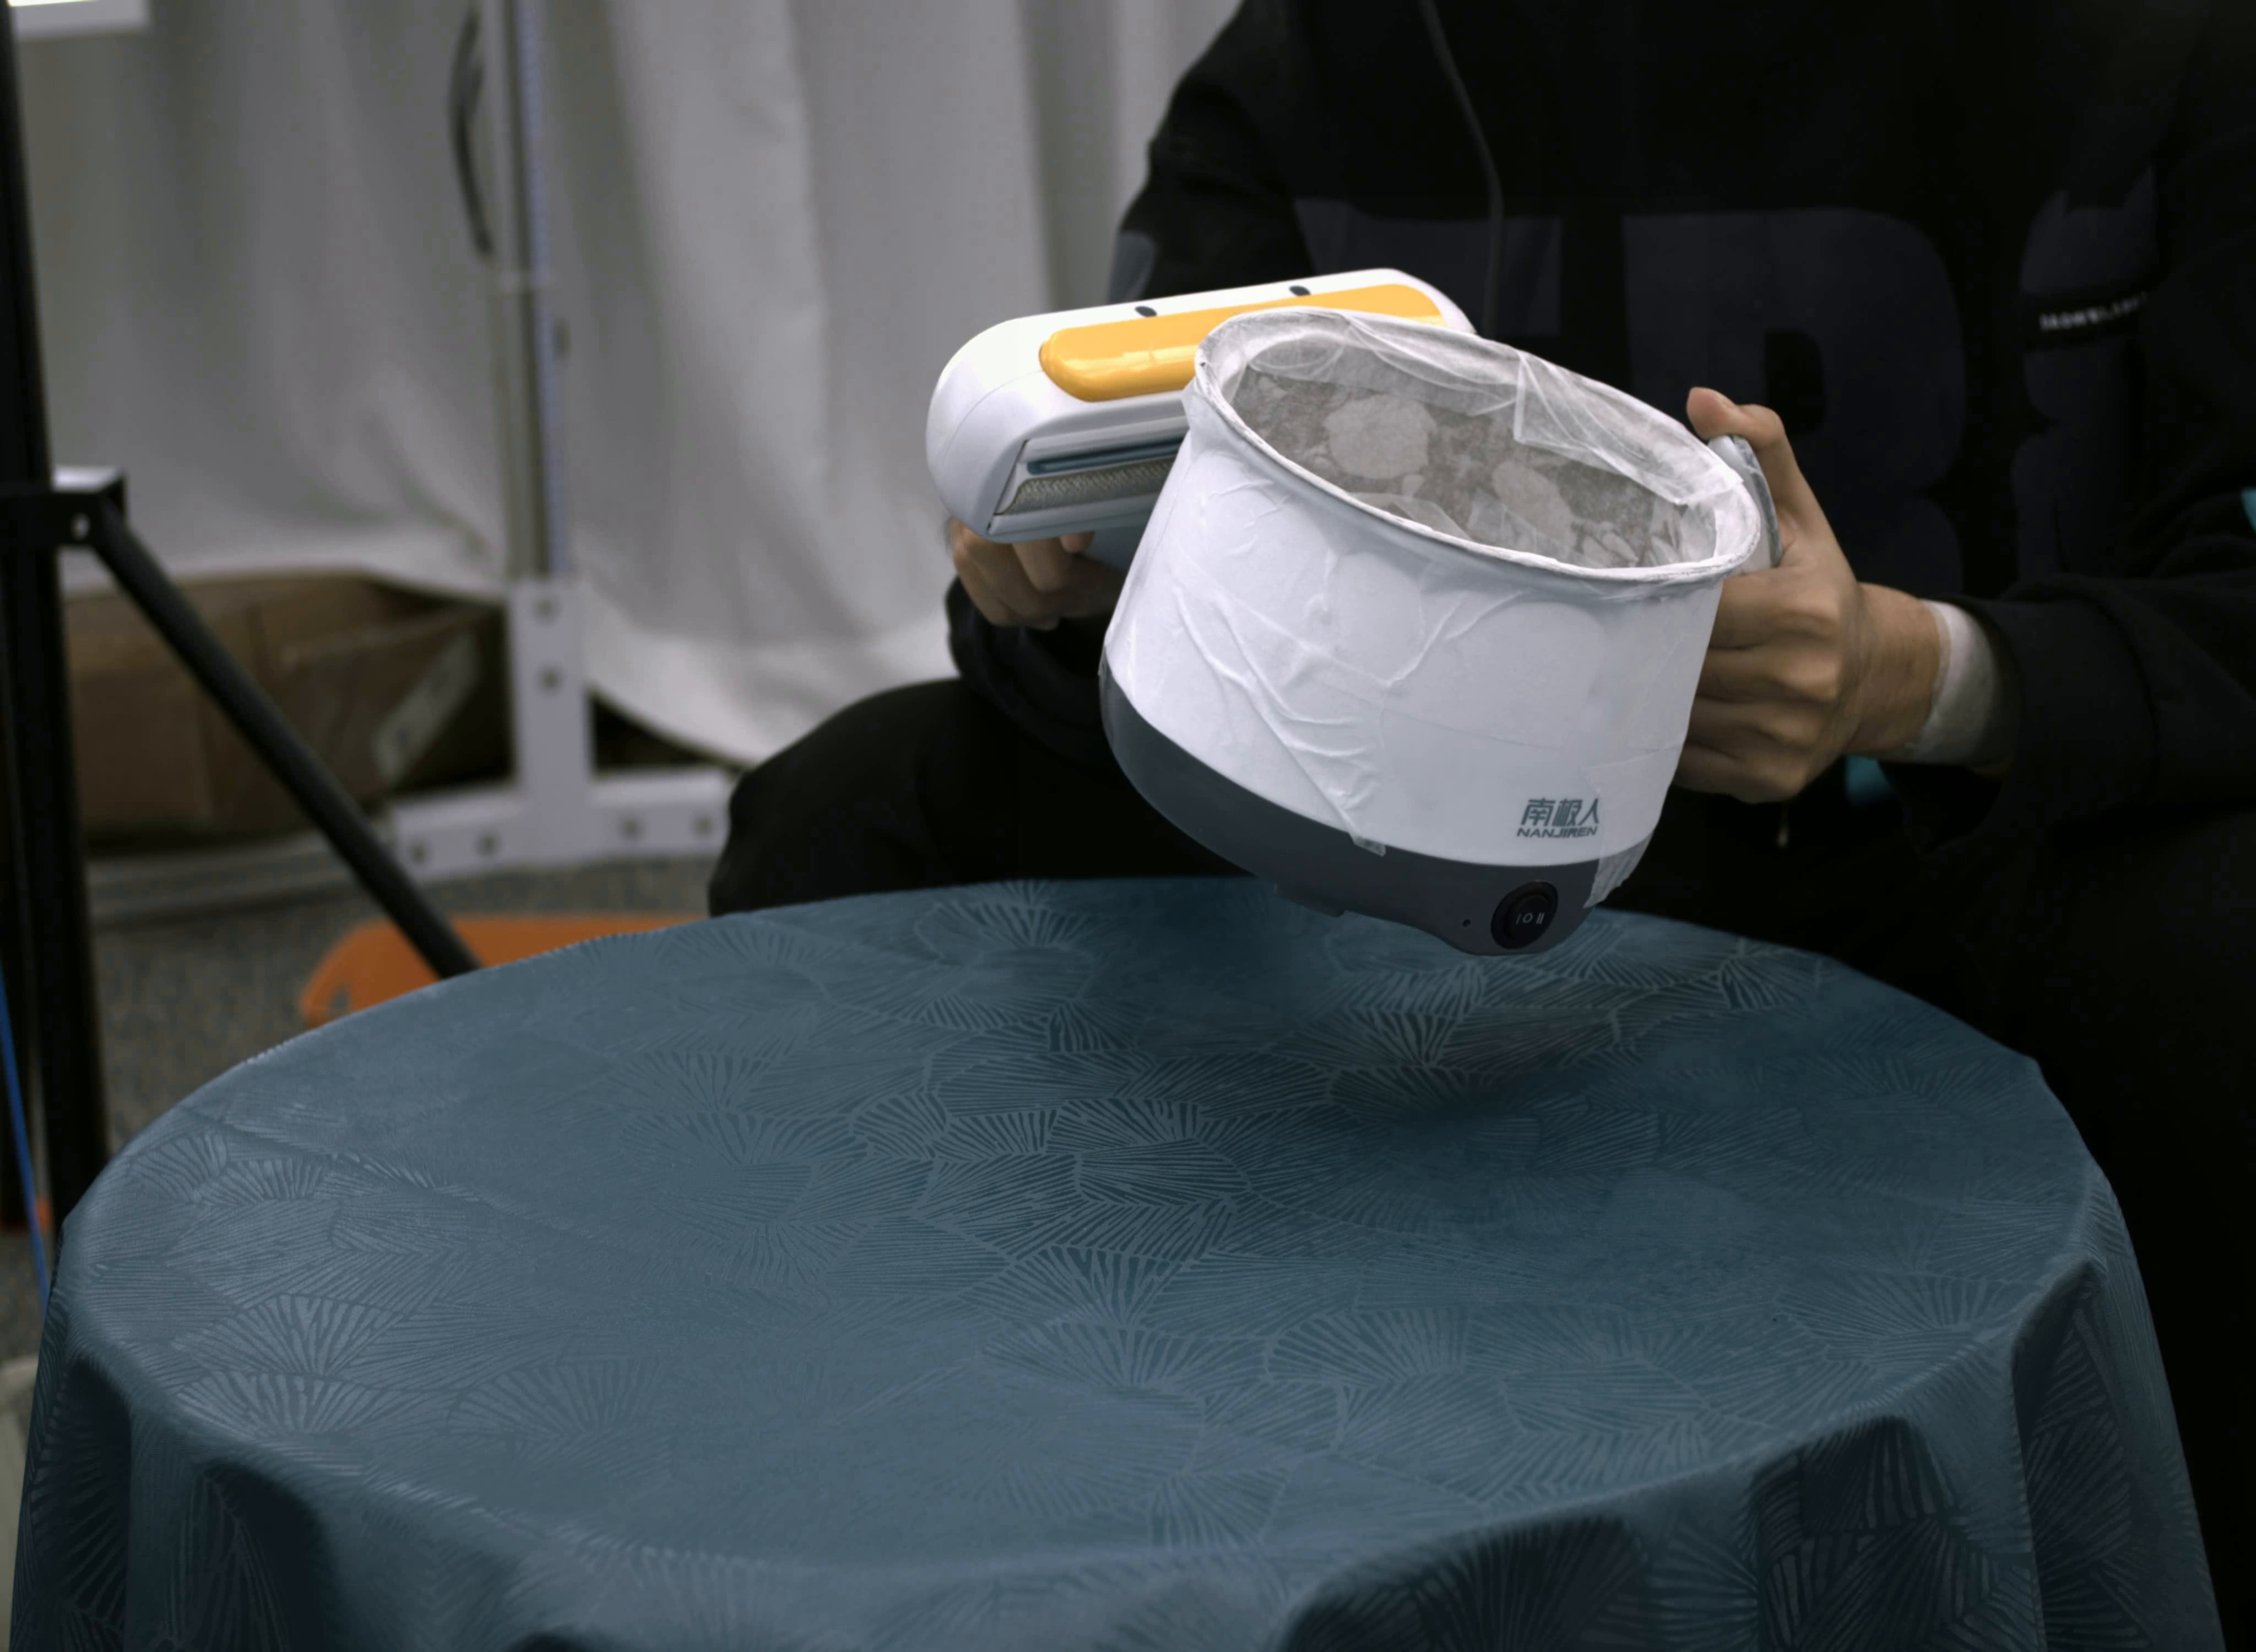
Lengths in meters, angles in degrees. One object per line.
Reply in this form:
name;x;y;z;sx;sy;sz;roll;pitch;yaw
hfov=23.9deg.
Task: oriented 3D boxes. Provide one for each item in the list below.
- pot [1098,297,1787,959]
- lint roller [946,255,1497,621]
pot;0.109;-0.062;1.616;0.228;0.137;0.183;-3;33;-34
lint roller;0.003;-0.111;1.728;0.188;0.075;0.194;-13;-24;-34
